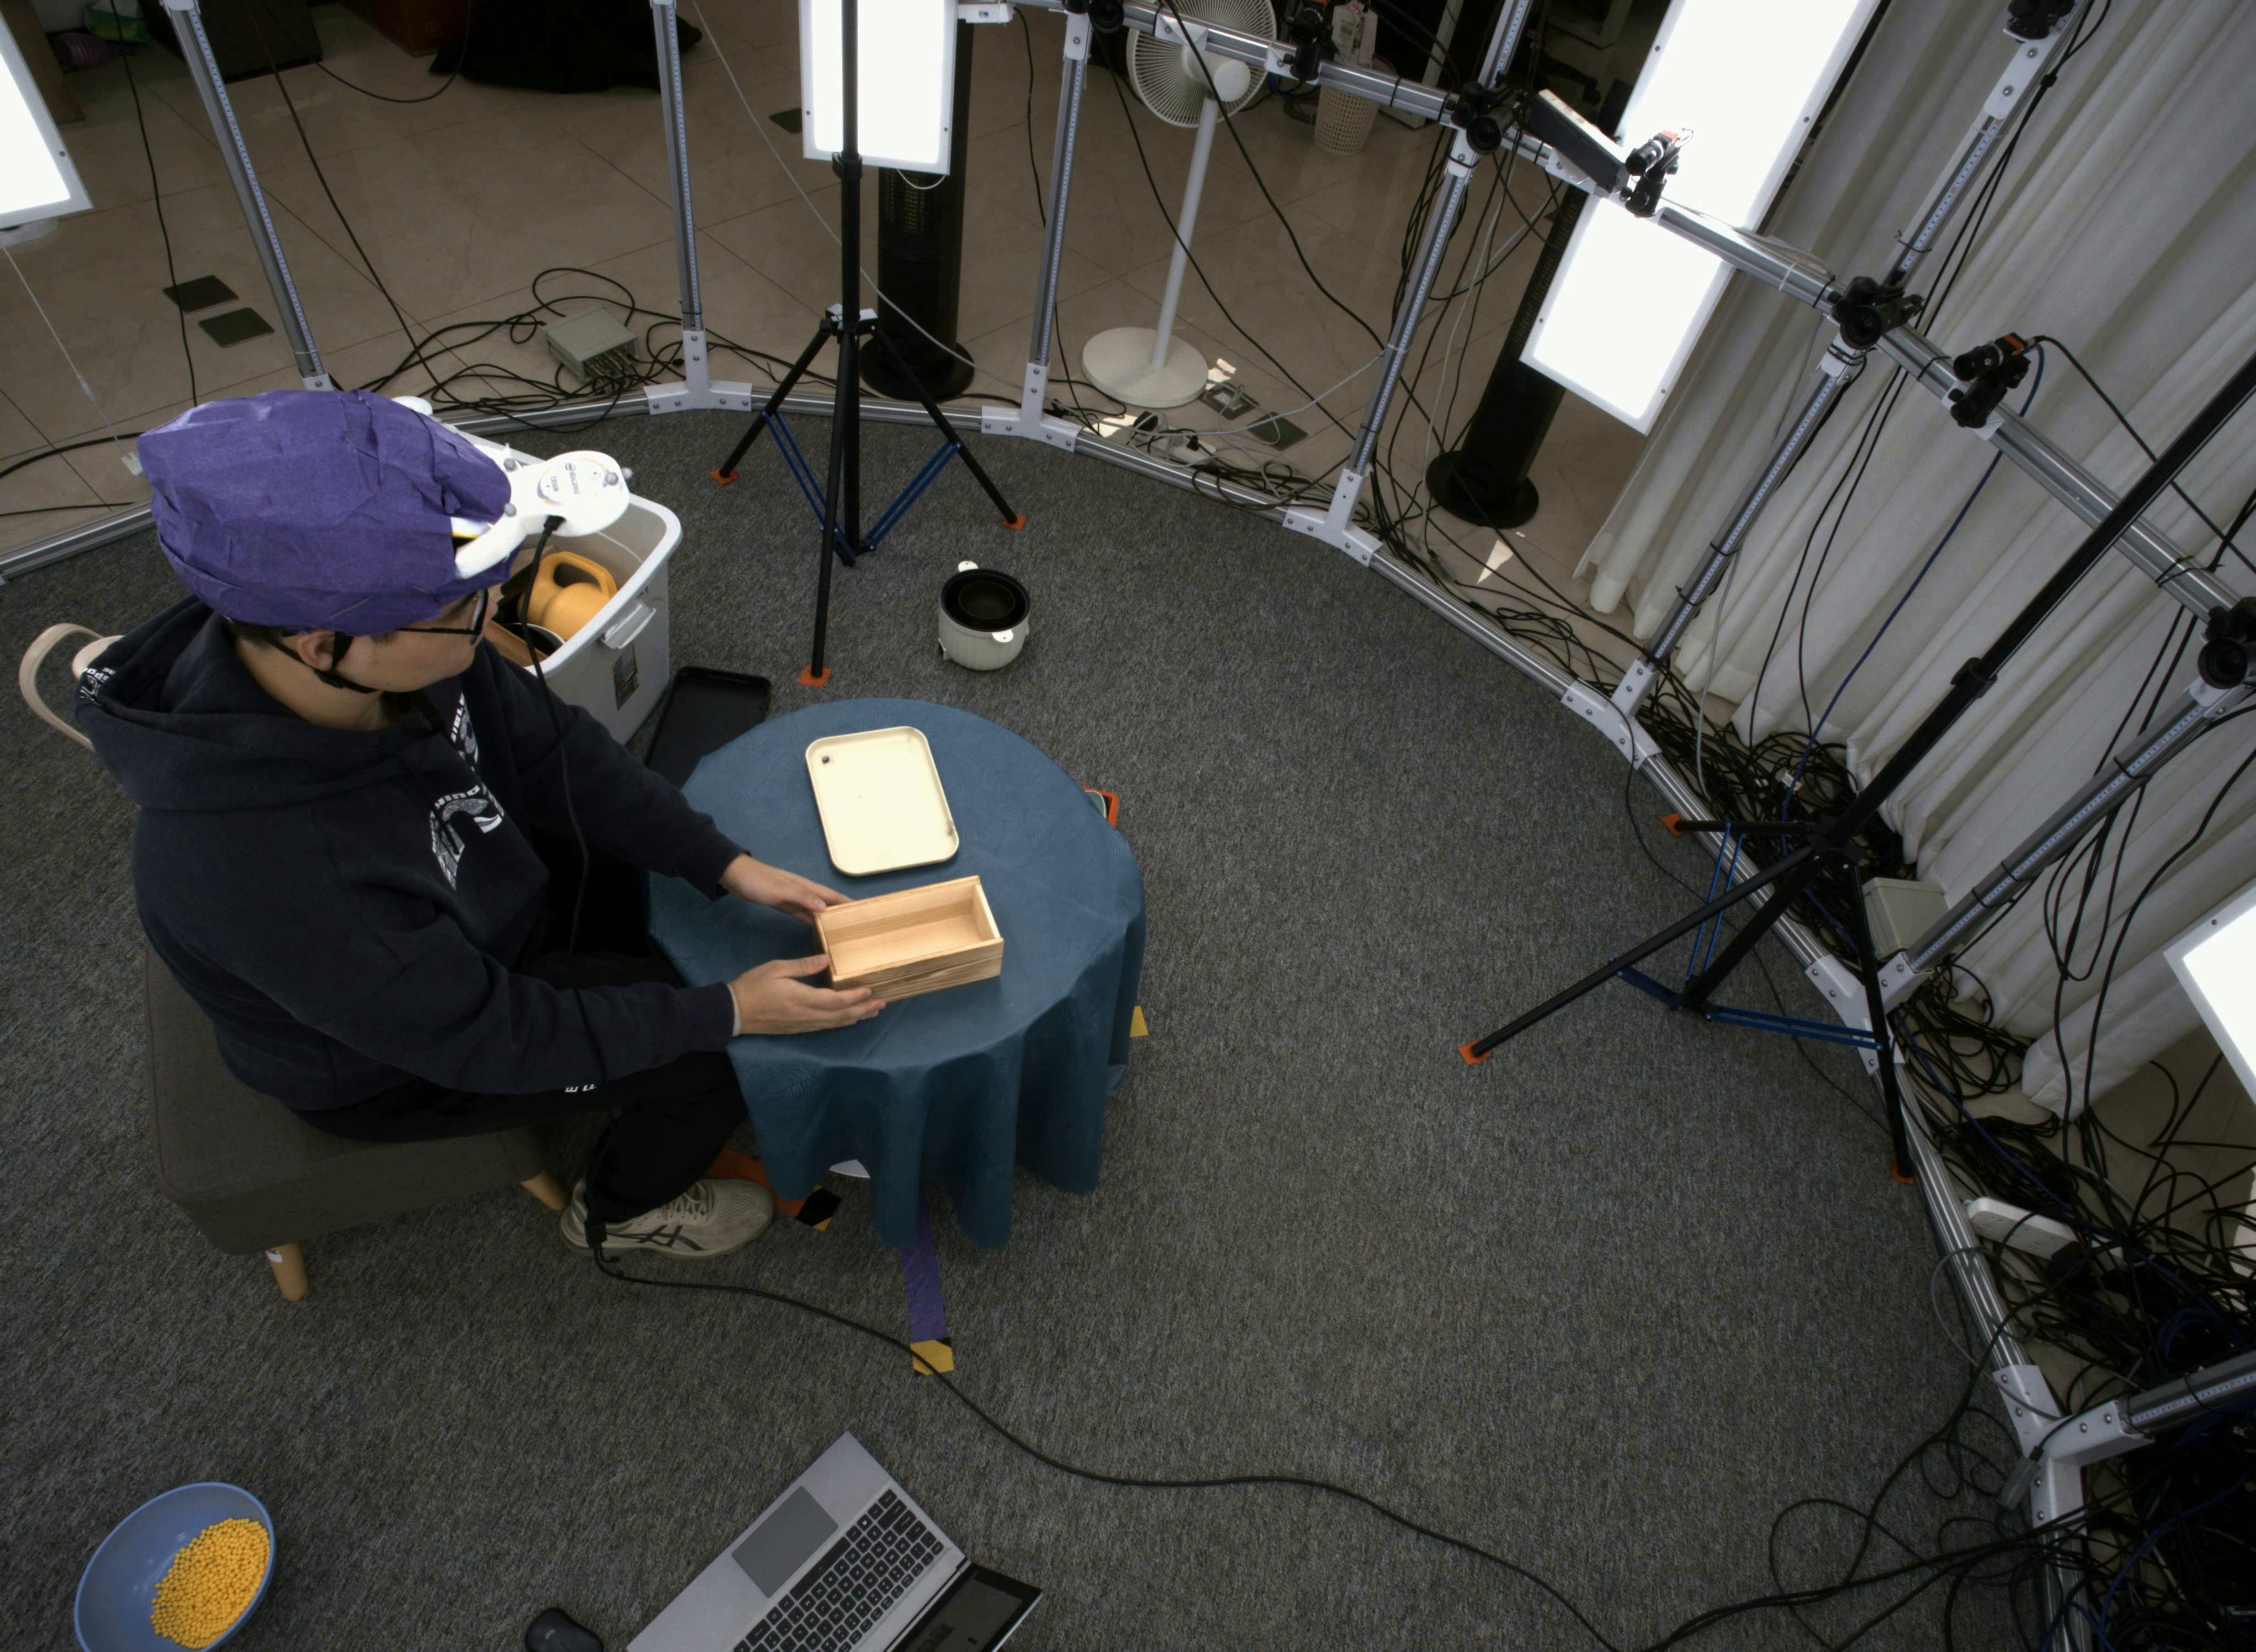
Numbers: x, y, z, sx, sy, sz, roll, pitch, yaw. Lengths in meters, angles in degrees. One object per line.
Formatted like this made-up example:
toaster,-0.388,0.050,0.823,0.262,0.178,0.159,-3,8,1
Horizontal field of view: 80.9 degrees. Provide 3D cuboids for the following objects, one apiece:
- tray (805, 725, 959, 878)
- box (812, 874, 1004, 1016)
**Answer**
tray,-0.334,-0.036,1.758,0.172,0.018,0.234,-10,57,-20
box,-0.270,0.143,1.600,0.212,0.082,0.105,-13,56,-22
